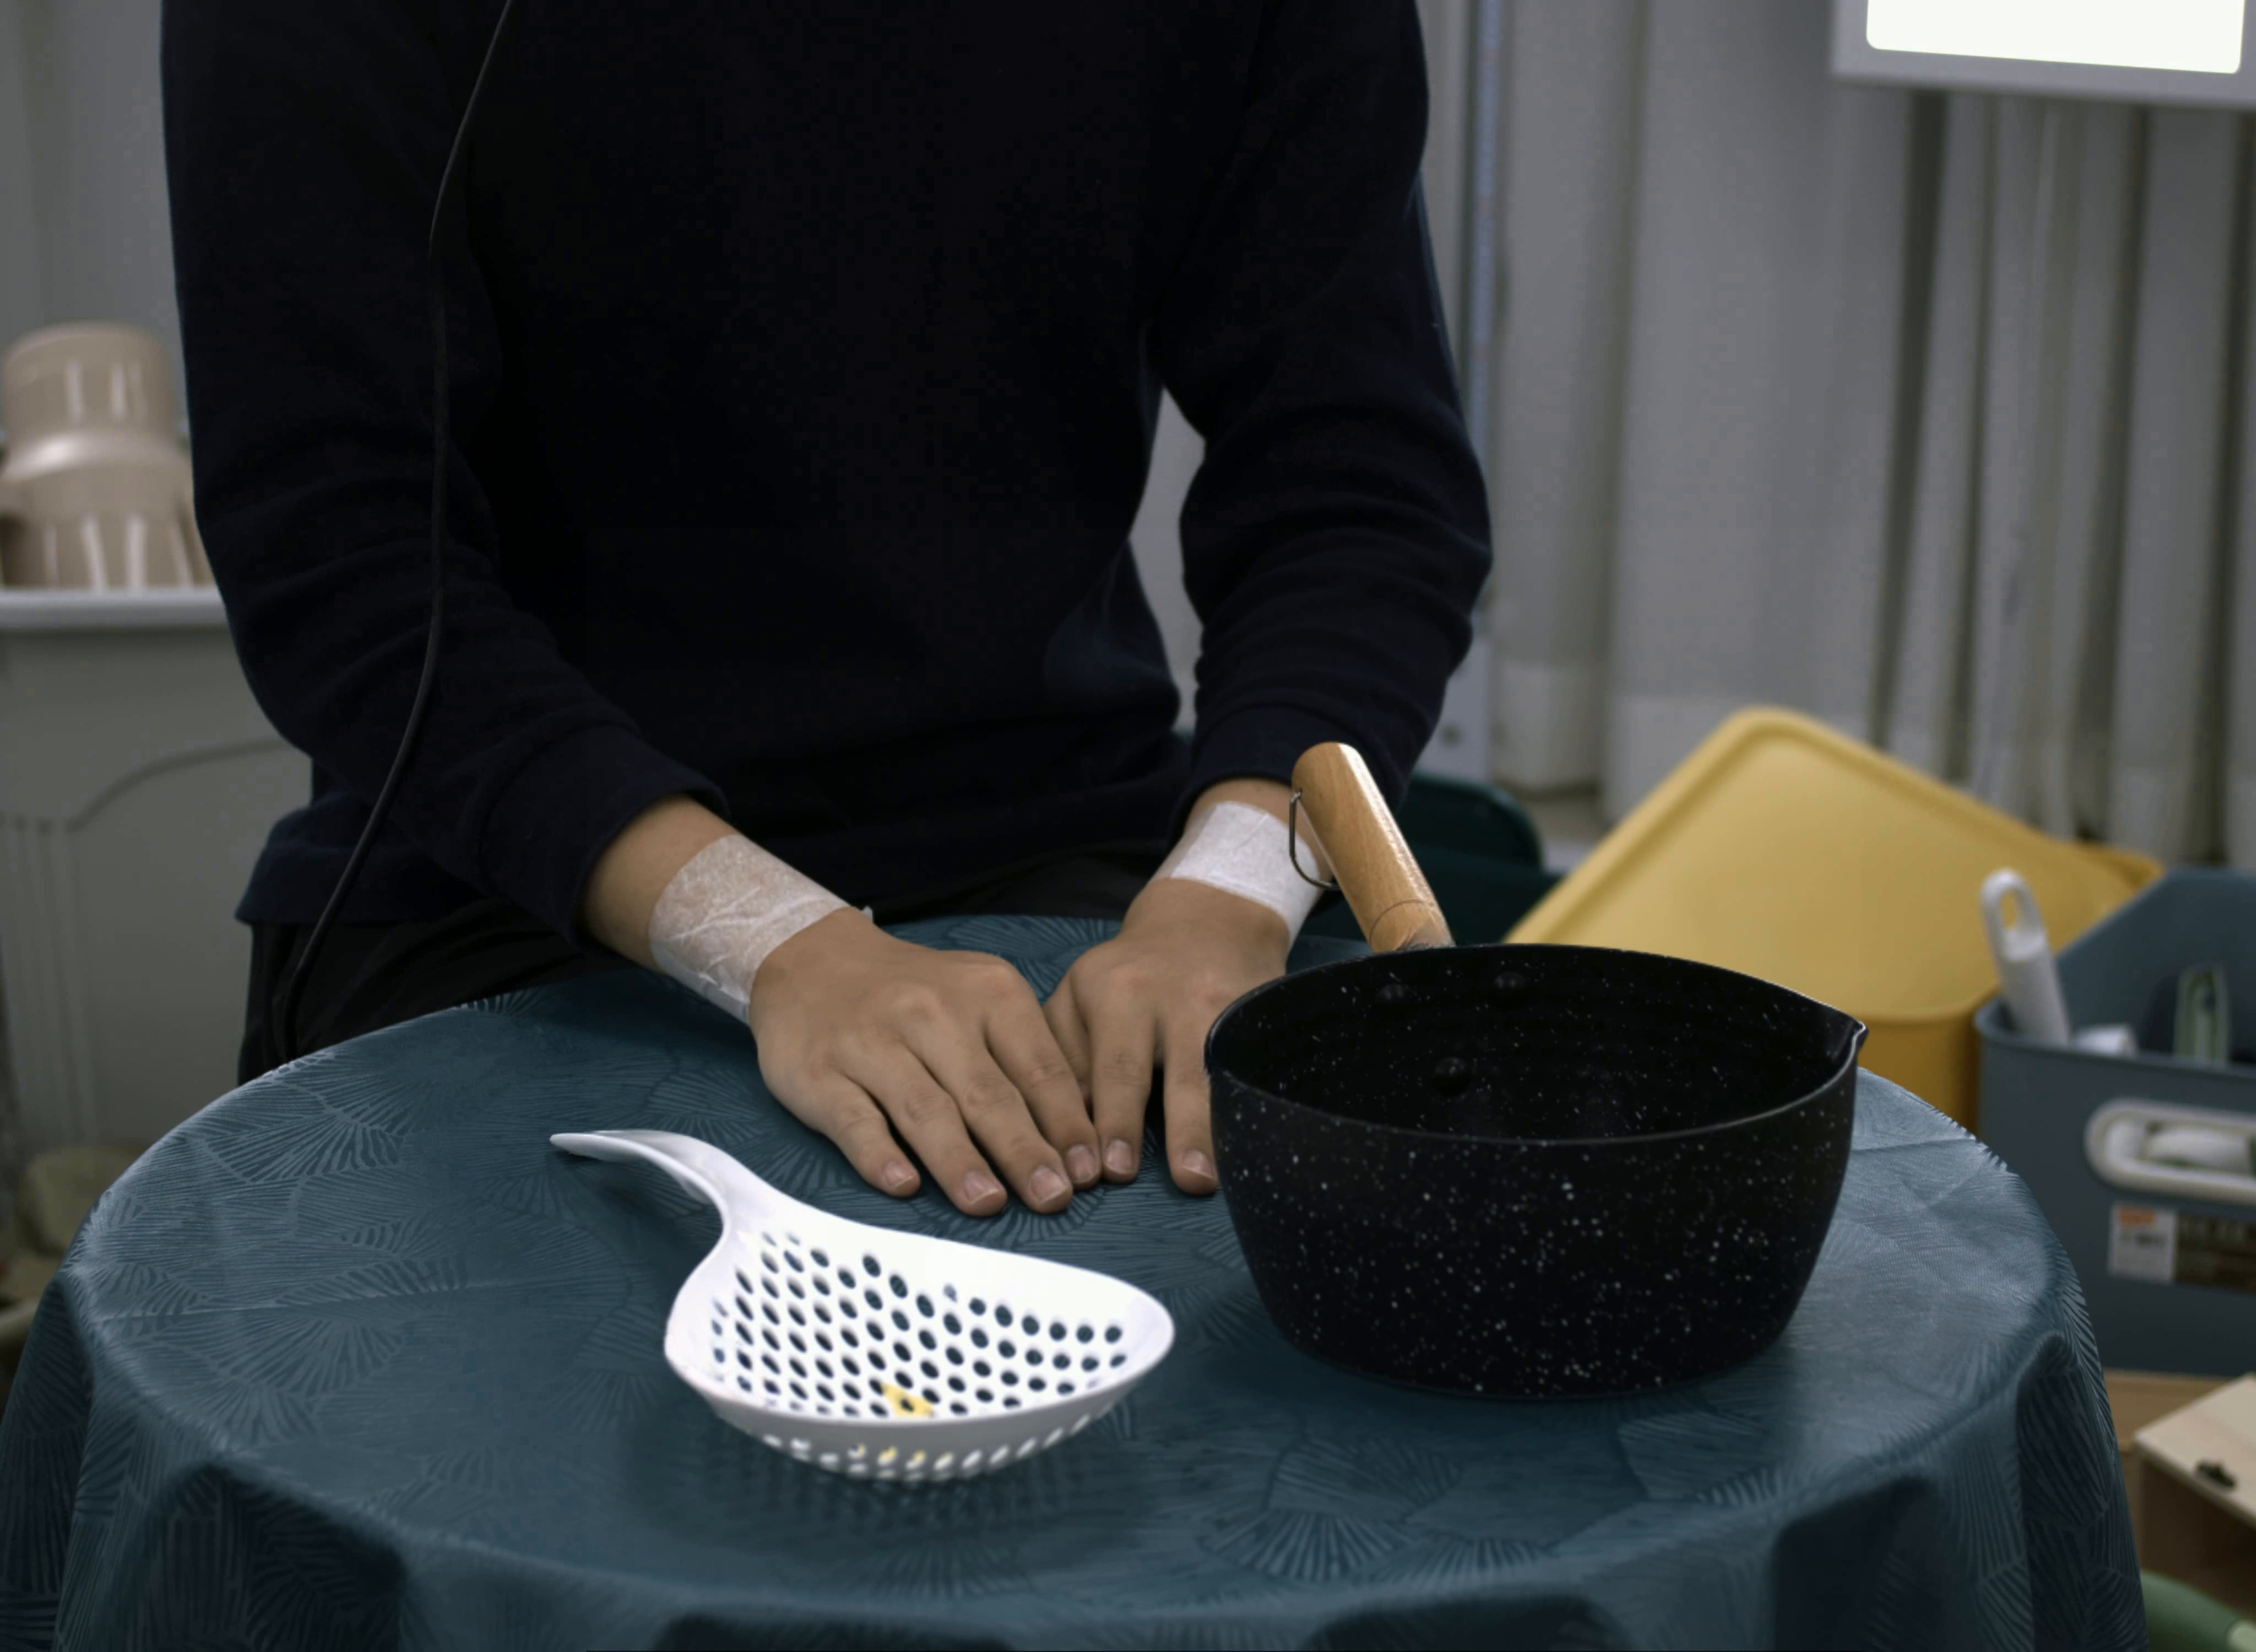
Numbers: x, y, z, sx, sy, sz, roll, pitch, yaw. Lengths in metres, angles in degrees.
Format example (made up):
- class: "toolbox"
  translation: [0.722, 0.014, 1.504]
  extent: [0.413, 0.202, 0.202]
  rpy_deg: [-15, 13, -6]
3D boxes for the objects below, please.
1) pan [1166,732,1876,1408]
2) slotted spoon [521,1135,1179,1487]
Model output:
- class: "pan"
  translation: [0.098, 0.068, 1.583]
  extent: [0.207, 0.109, 0.339]
  rpy_deg: [-4, 18, -13]
- class: "slotted spoon"
  translation: [-0.103, 0.123, 1.500]
  extent: [0.137, 0.051, 0.343]
  rpy_deg: [-9, 20, -24]
